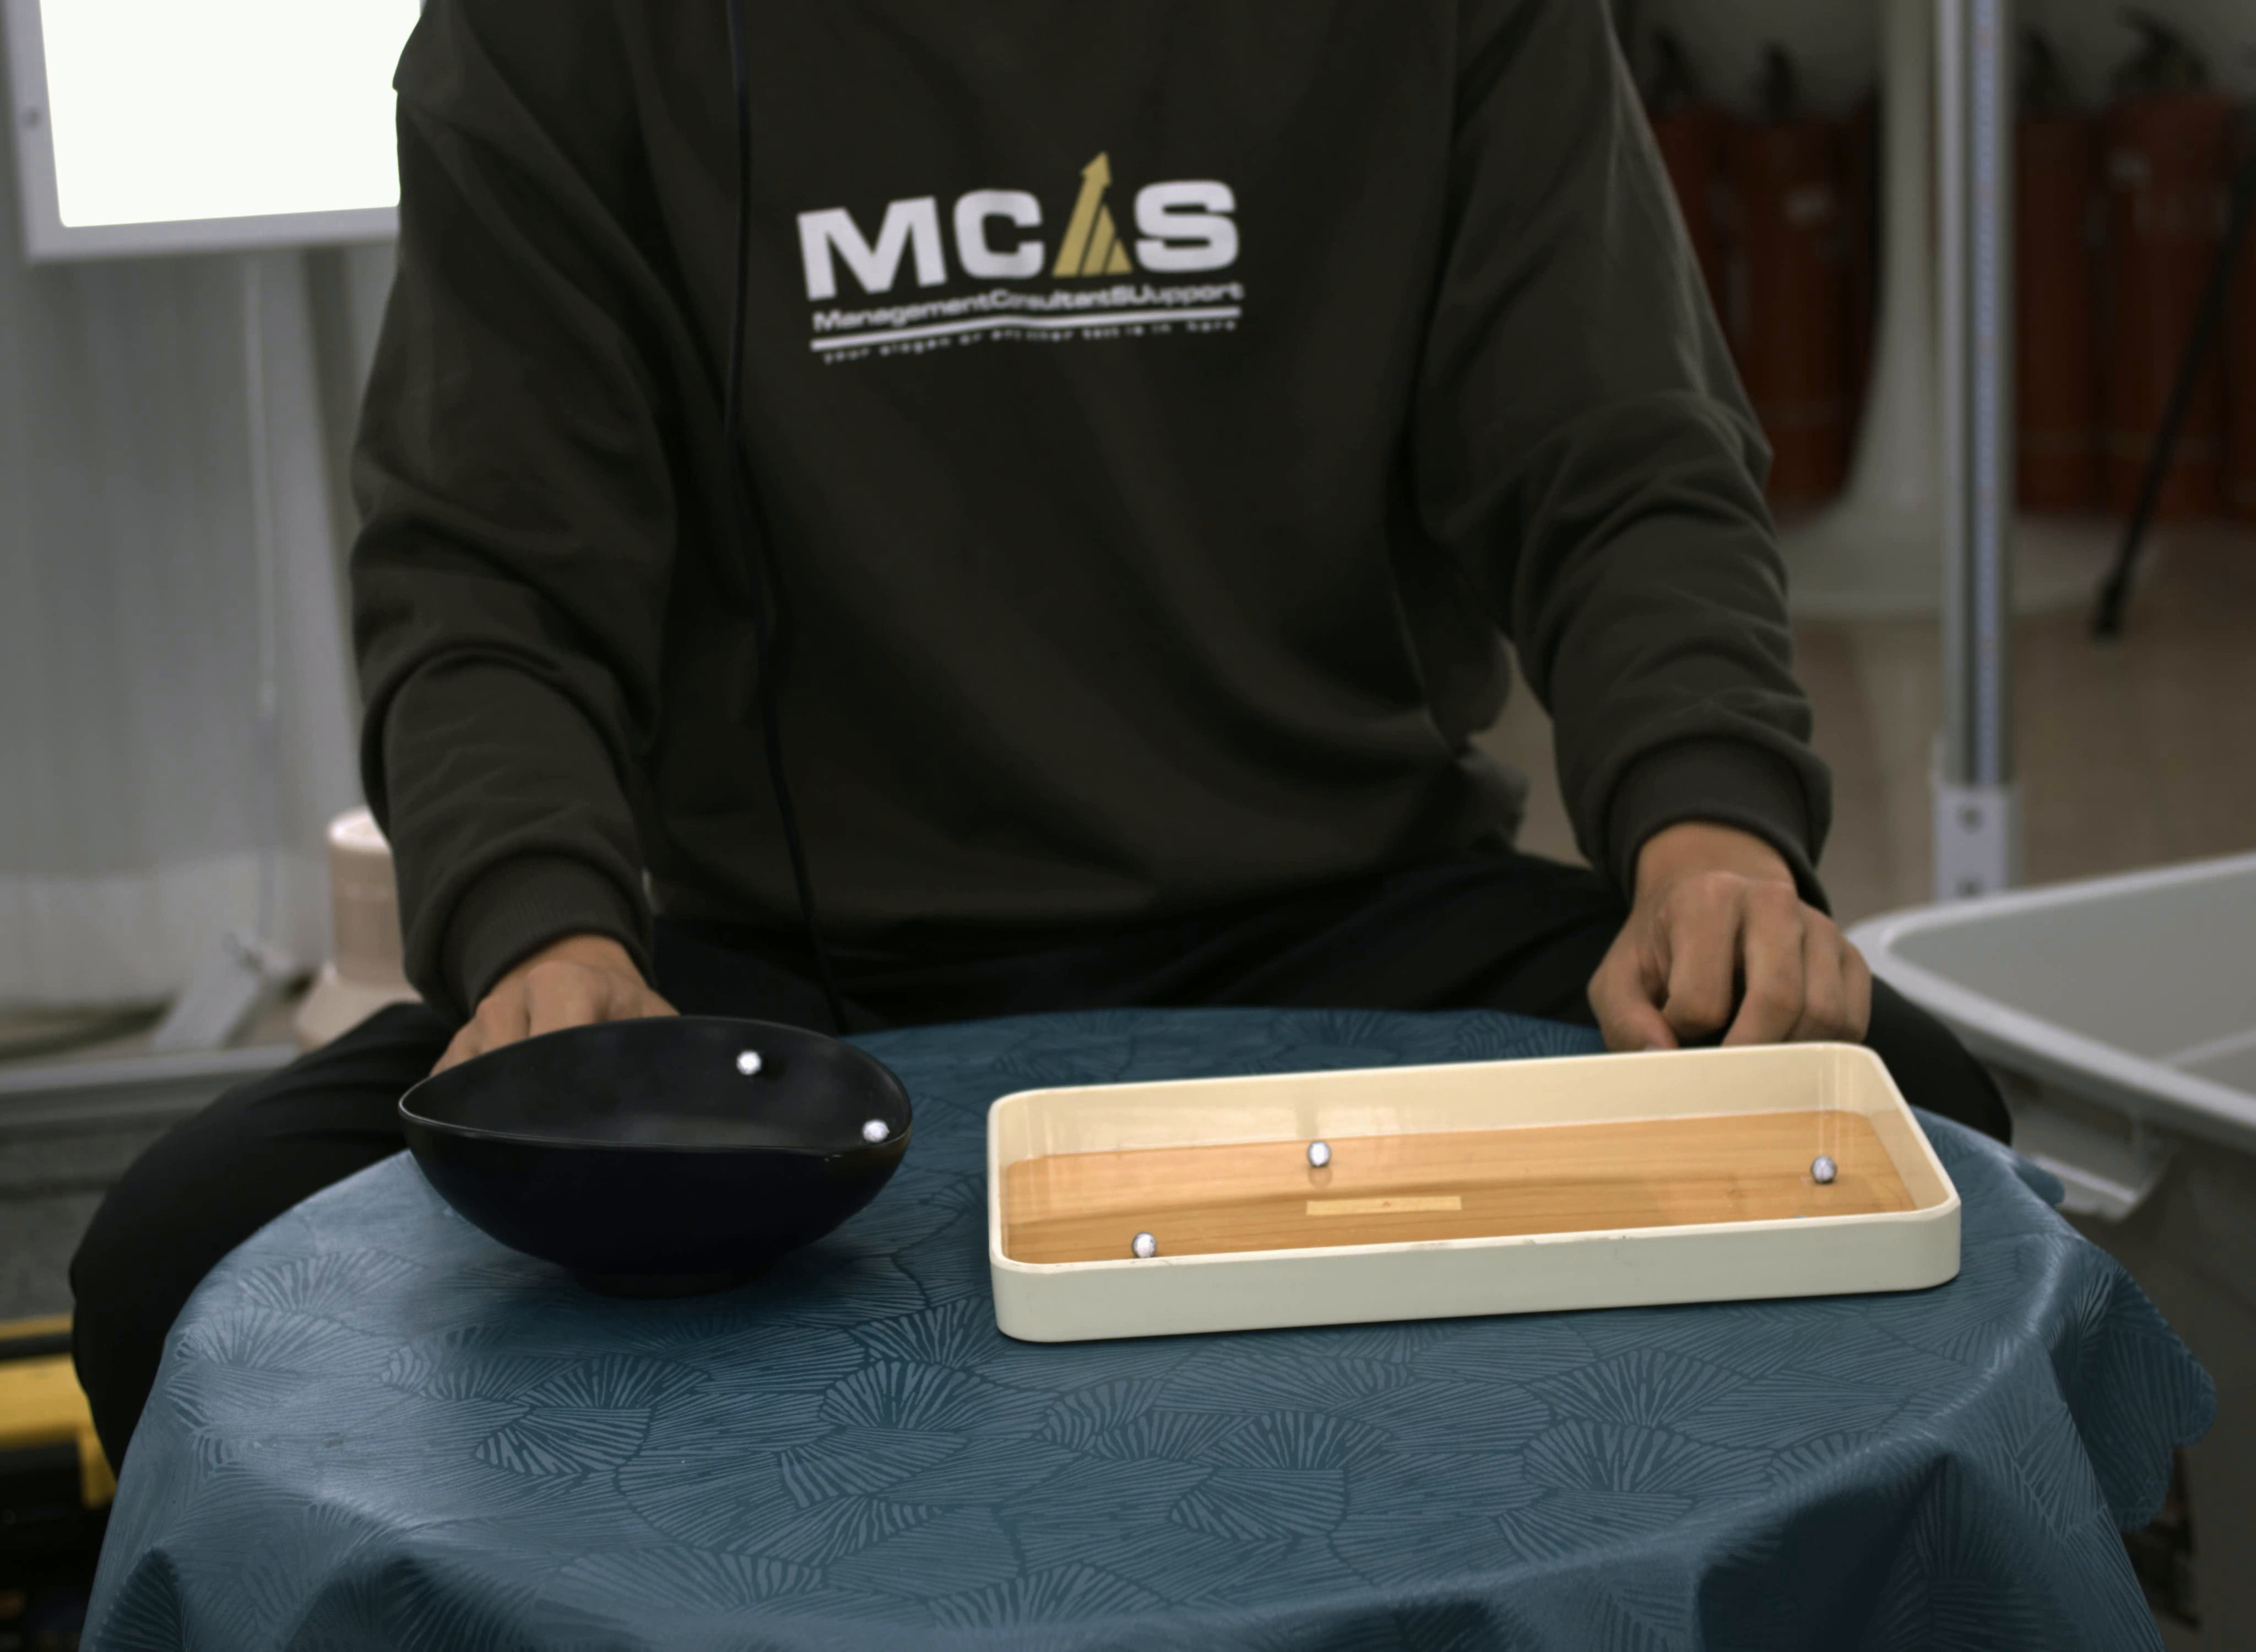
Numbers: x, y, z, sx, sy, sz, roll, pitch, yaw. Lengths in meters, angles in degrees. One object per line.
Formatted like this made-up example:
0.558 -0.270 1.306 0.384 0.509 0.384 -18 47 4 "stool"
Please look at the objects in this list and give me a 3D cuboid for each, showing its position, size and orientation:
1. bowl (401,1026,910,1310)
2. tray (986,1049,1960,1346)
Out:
-0.148 0.113 1.722 0.170 0.067 0.136 3 15 19 "bowl"
0.104 0.117 1.712 0.296 0.028 0.192 -4 13 0 "tray"
